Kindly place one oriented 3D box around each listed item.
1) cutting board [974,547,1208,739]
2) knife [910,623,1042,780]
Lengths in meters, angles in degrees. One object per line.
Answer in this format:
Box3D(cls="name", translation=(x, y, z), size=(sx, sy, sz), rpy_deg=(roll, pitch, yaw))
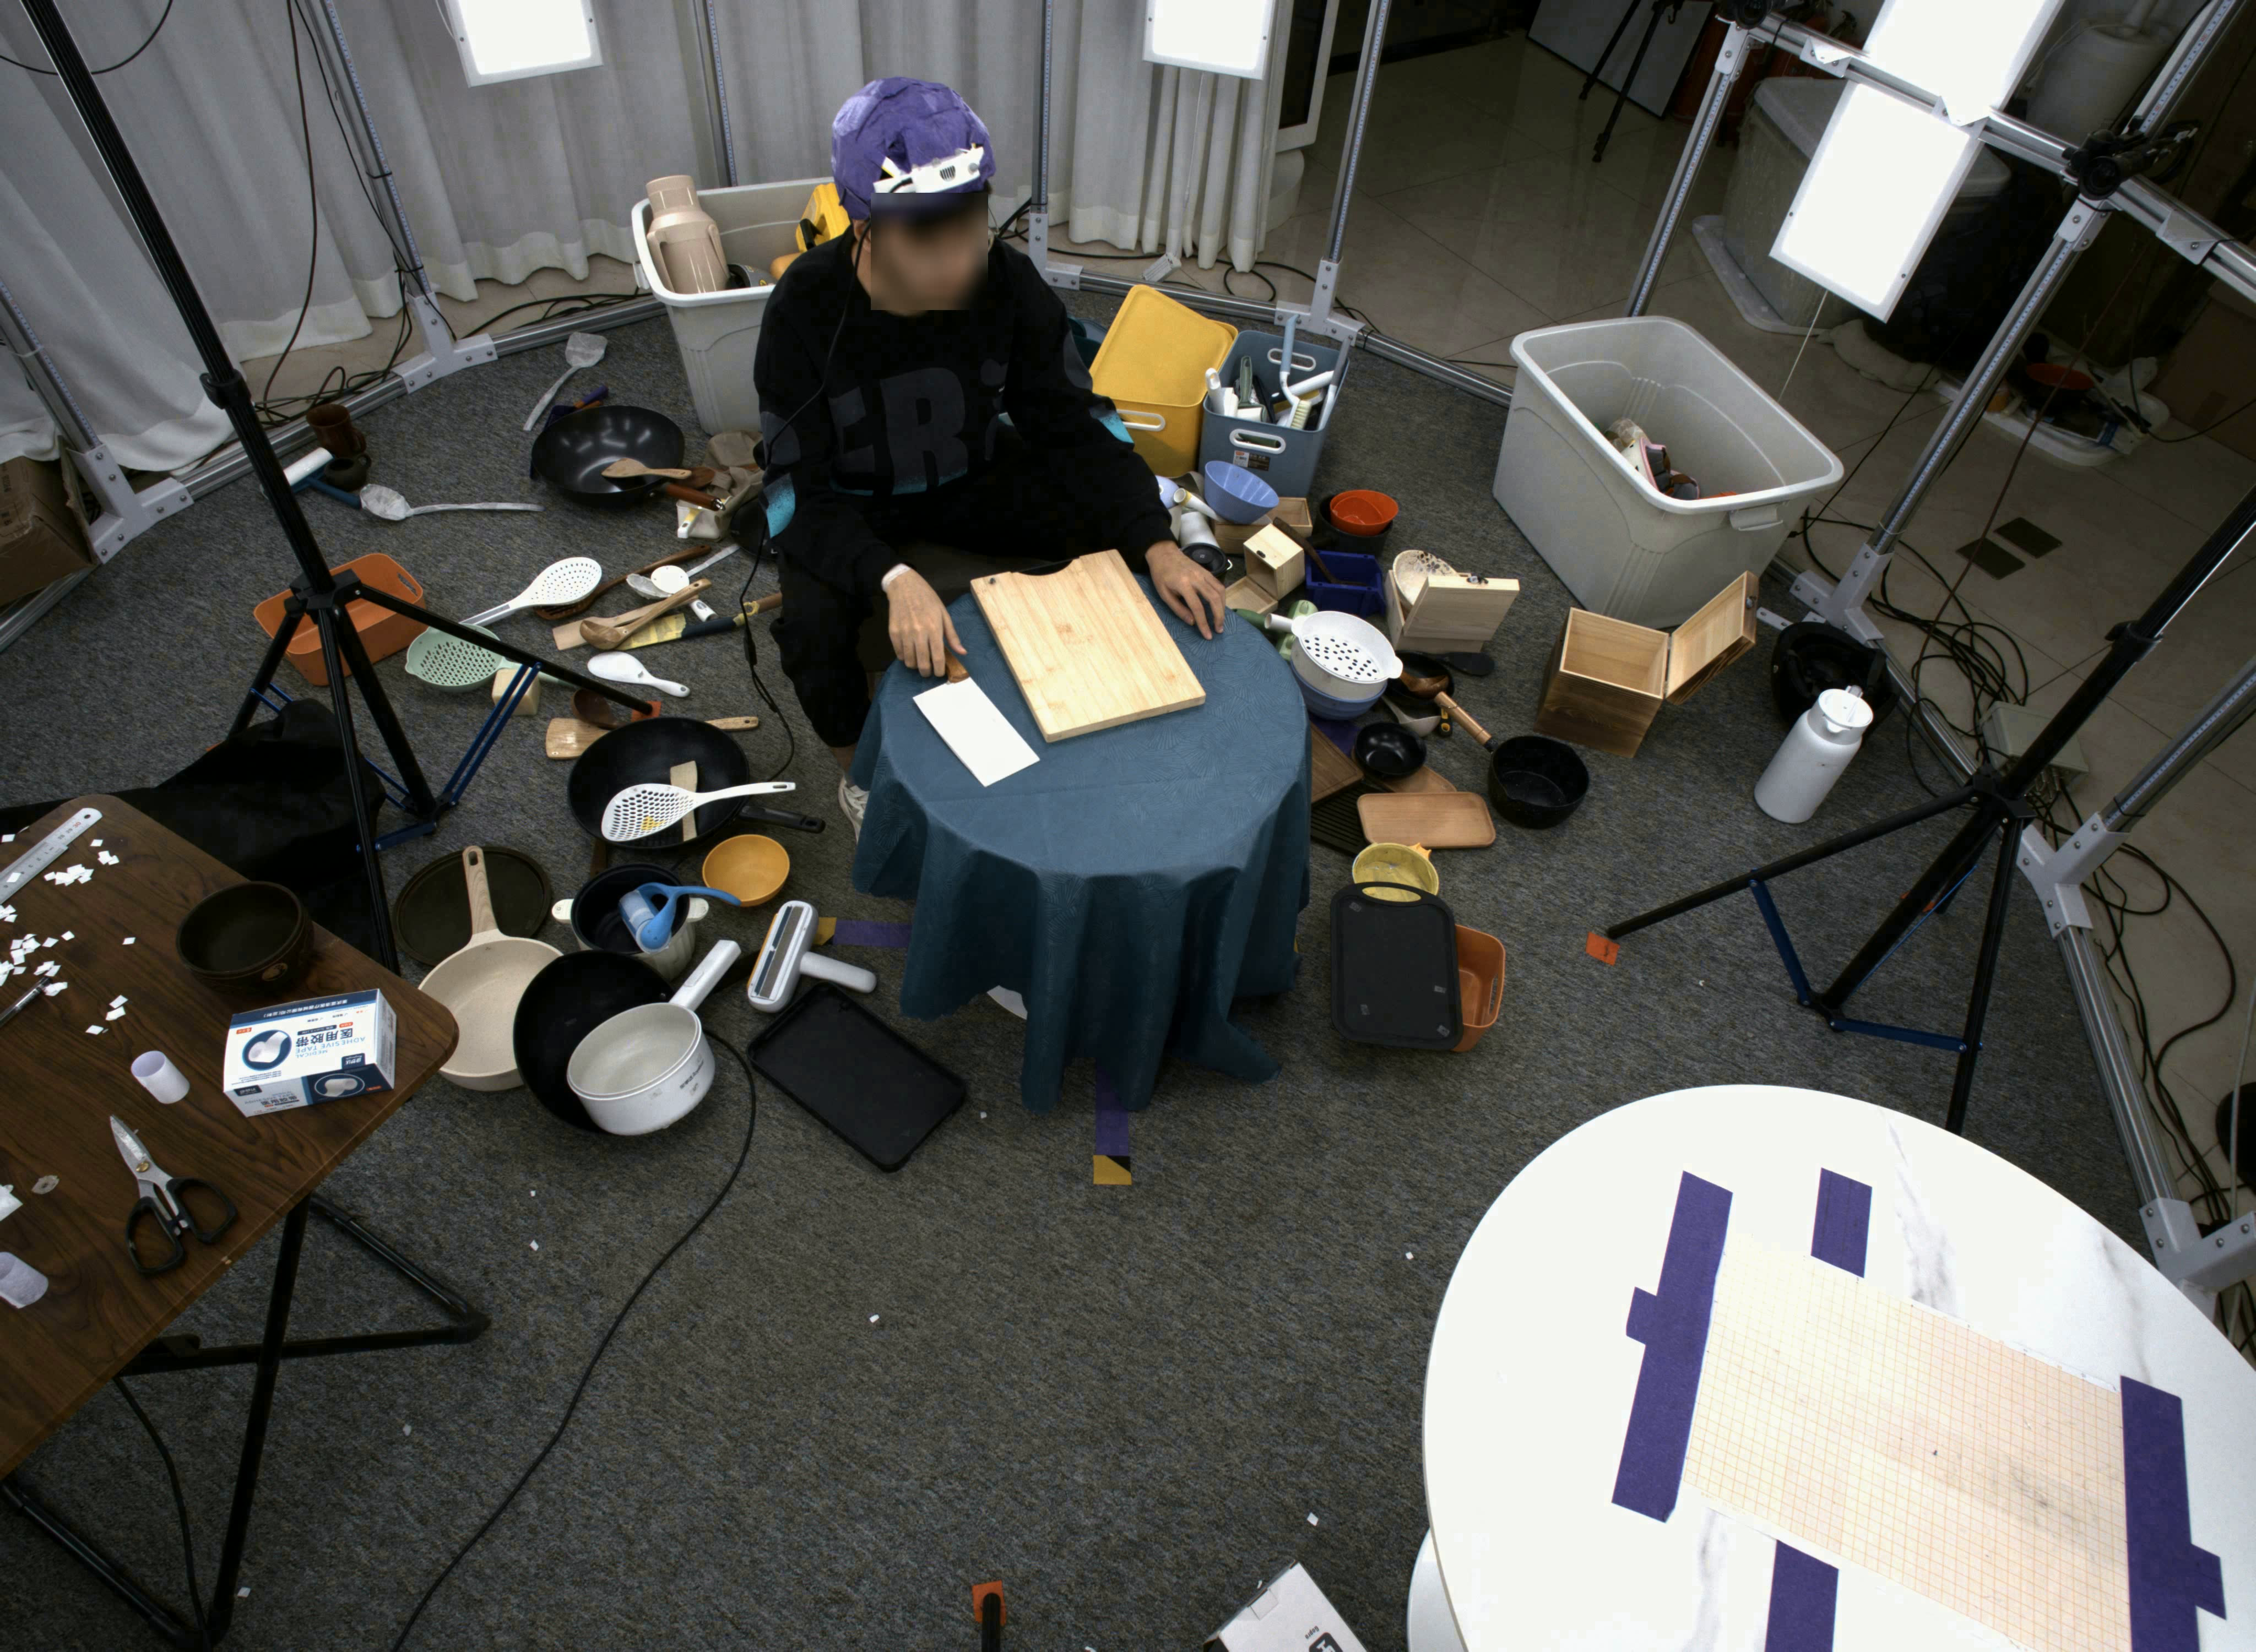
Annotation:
Box3D(cls="cutting board", translation=(-0.060, -0.277, 1.894), size=(0.251, 0.023, 0.357), rpy_deg=(-16, 52, -17))
Box3D(cls="knife", translation=(-0.237, -0.174, 1.793), size=(0.093, 0.020, 0.311), rpy_deg=(-27, 58, -23))
